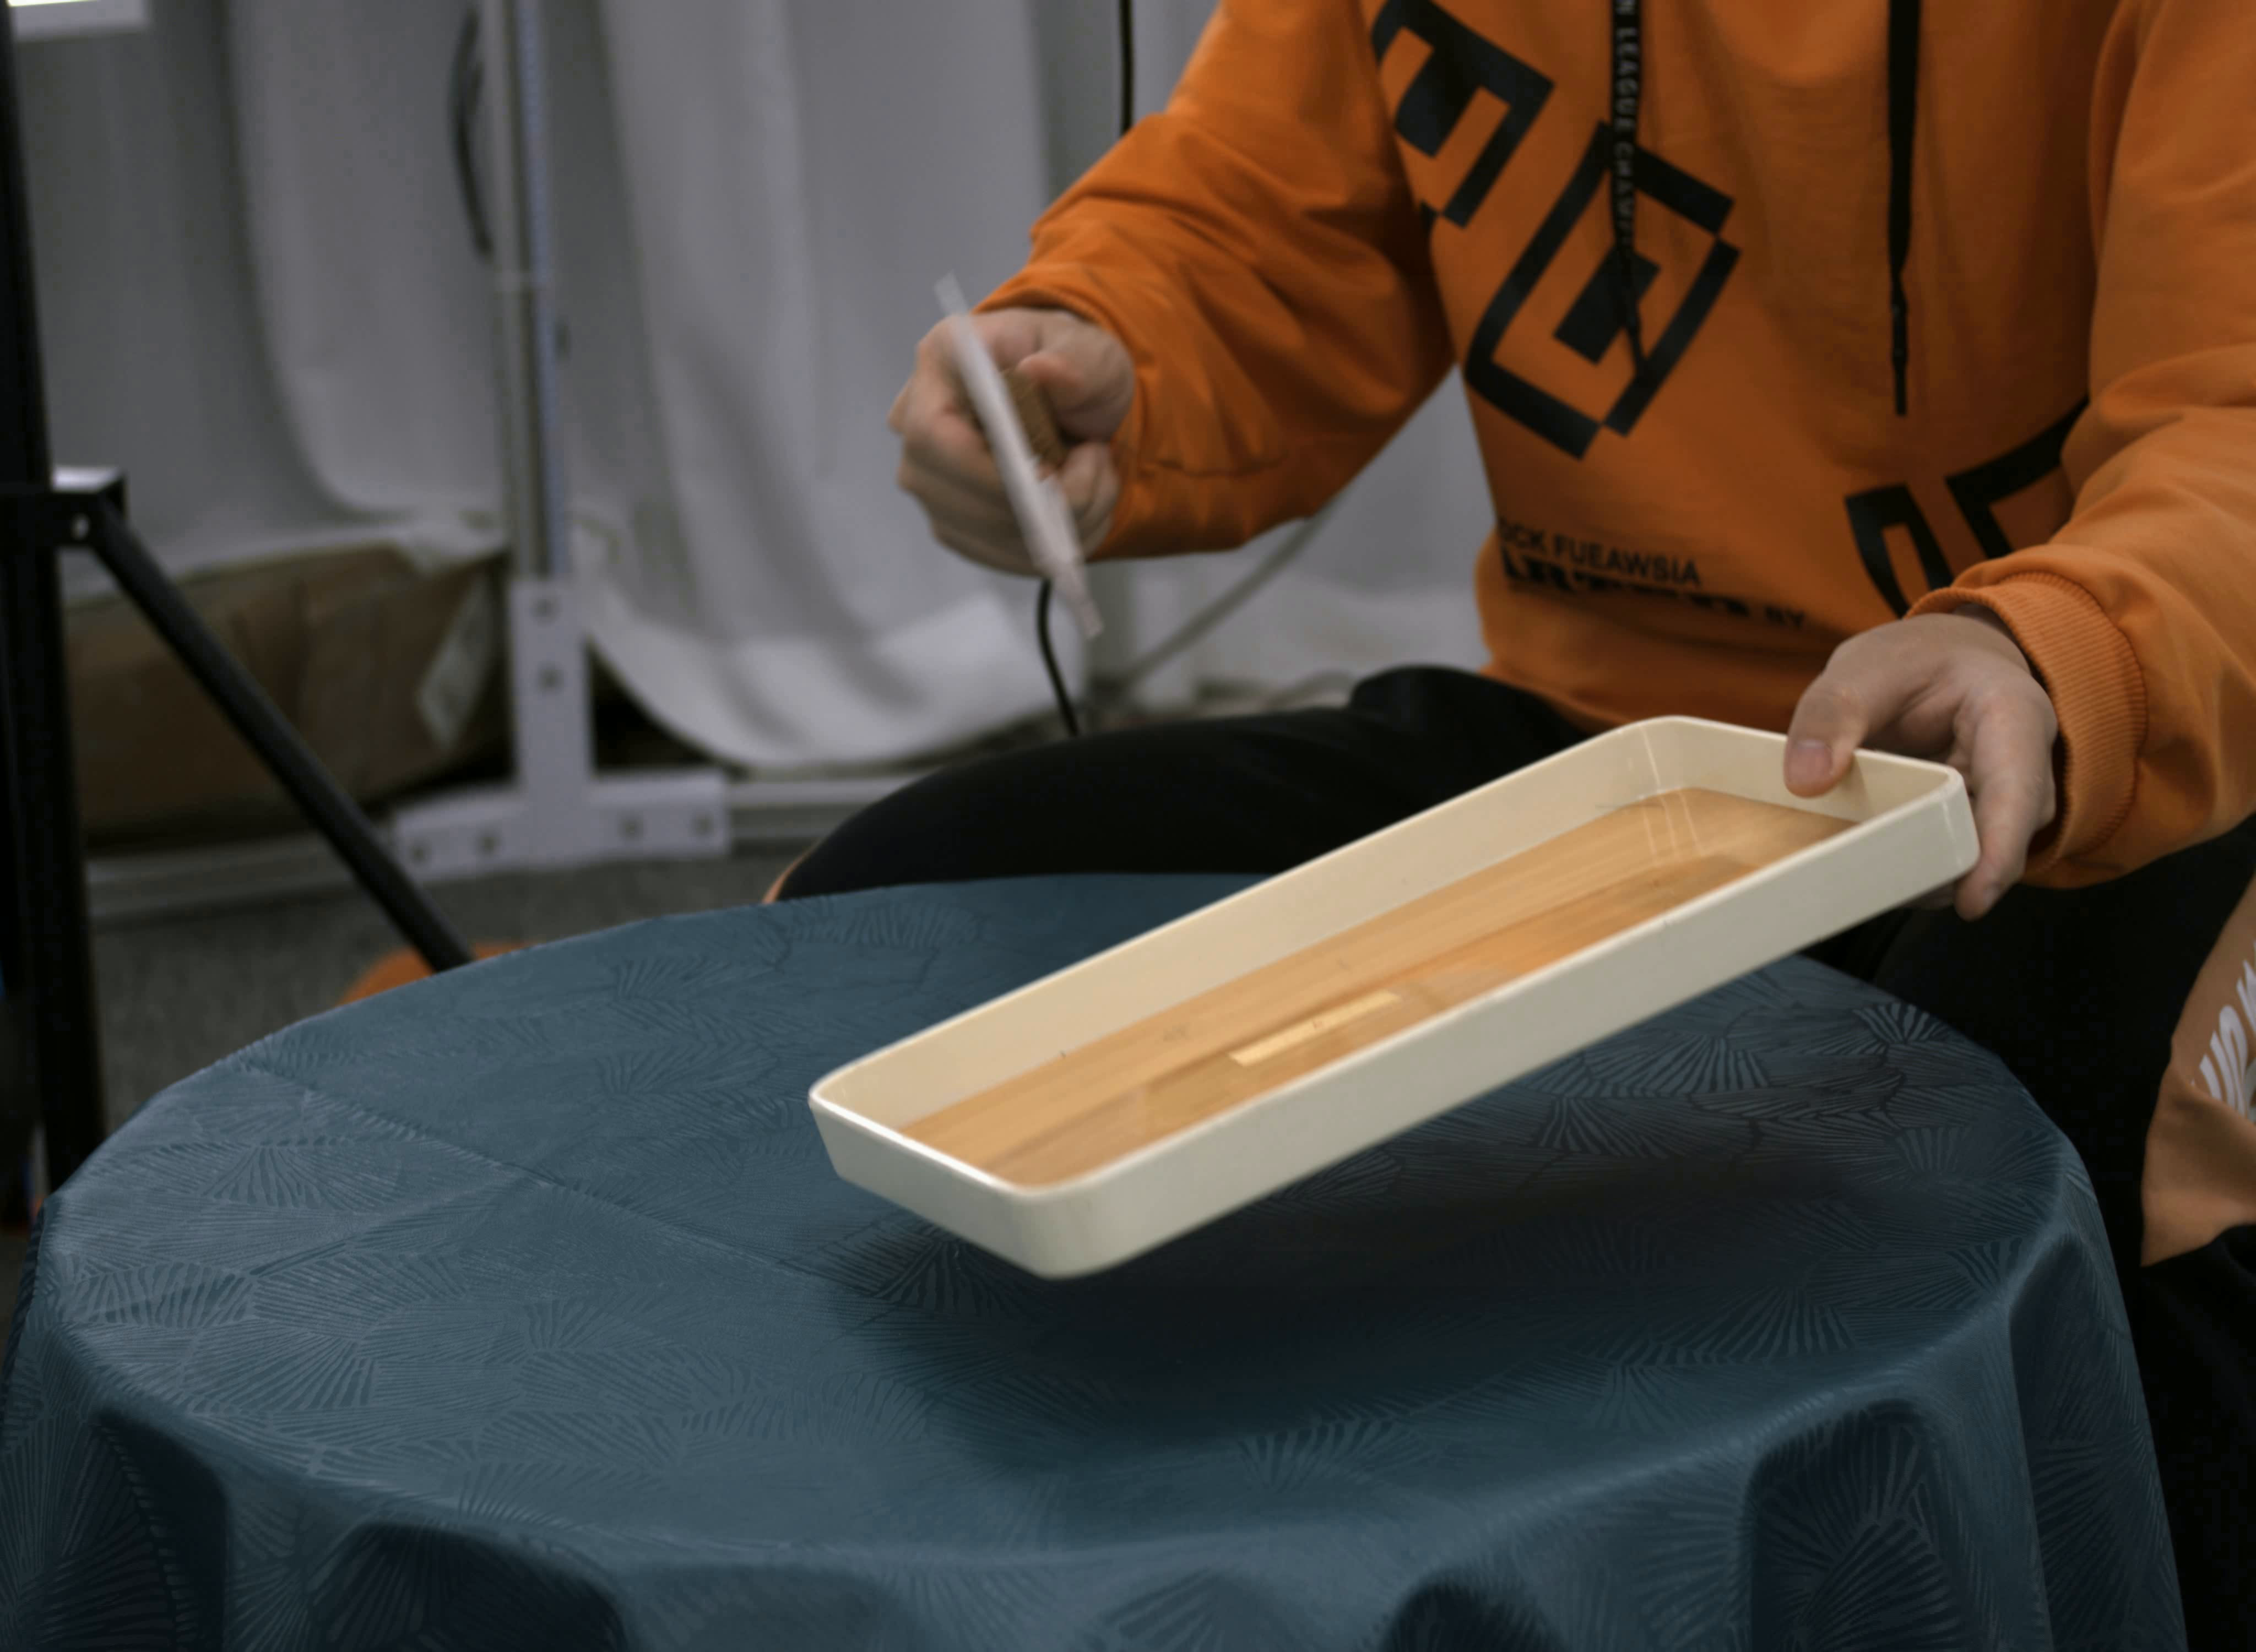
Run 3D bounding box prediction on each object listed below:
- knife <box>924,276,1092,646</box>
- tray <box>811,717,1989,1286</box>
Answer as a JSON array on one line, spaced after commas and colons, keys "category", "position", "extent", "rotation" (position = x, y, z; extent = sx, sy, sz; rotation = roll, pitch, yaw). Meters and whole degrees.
[{"category": "knife", "position": [-0.032, -0.102, 1.650], "extent": [0.021, 0.093, 0.304], "rotation": [-20, -6, 3]}, {"category": "tray", "position": [0.074, 0.044, 1.483], "extent": [0.296, 0.027, 0.195], "rotation": [-24, 14, -17]}]
